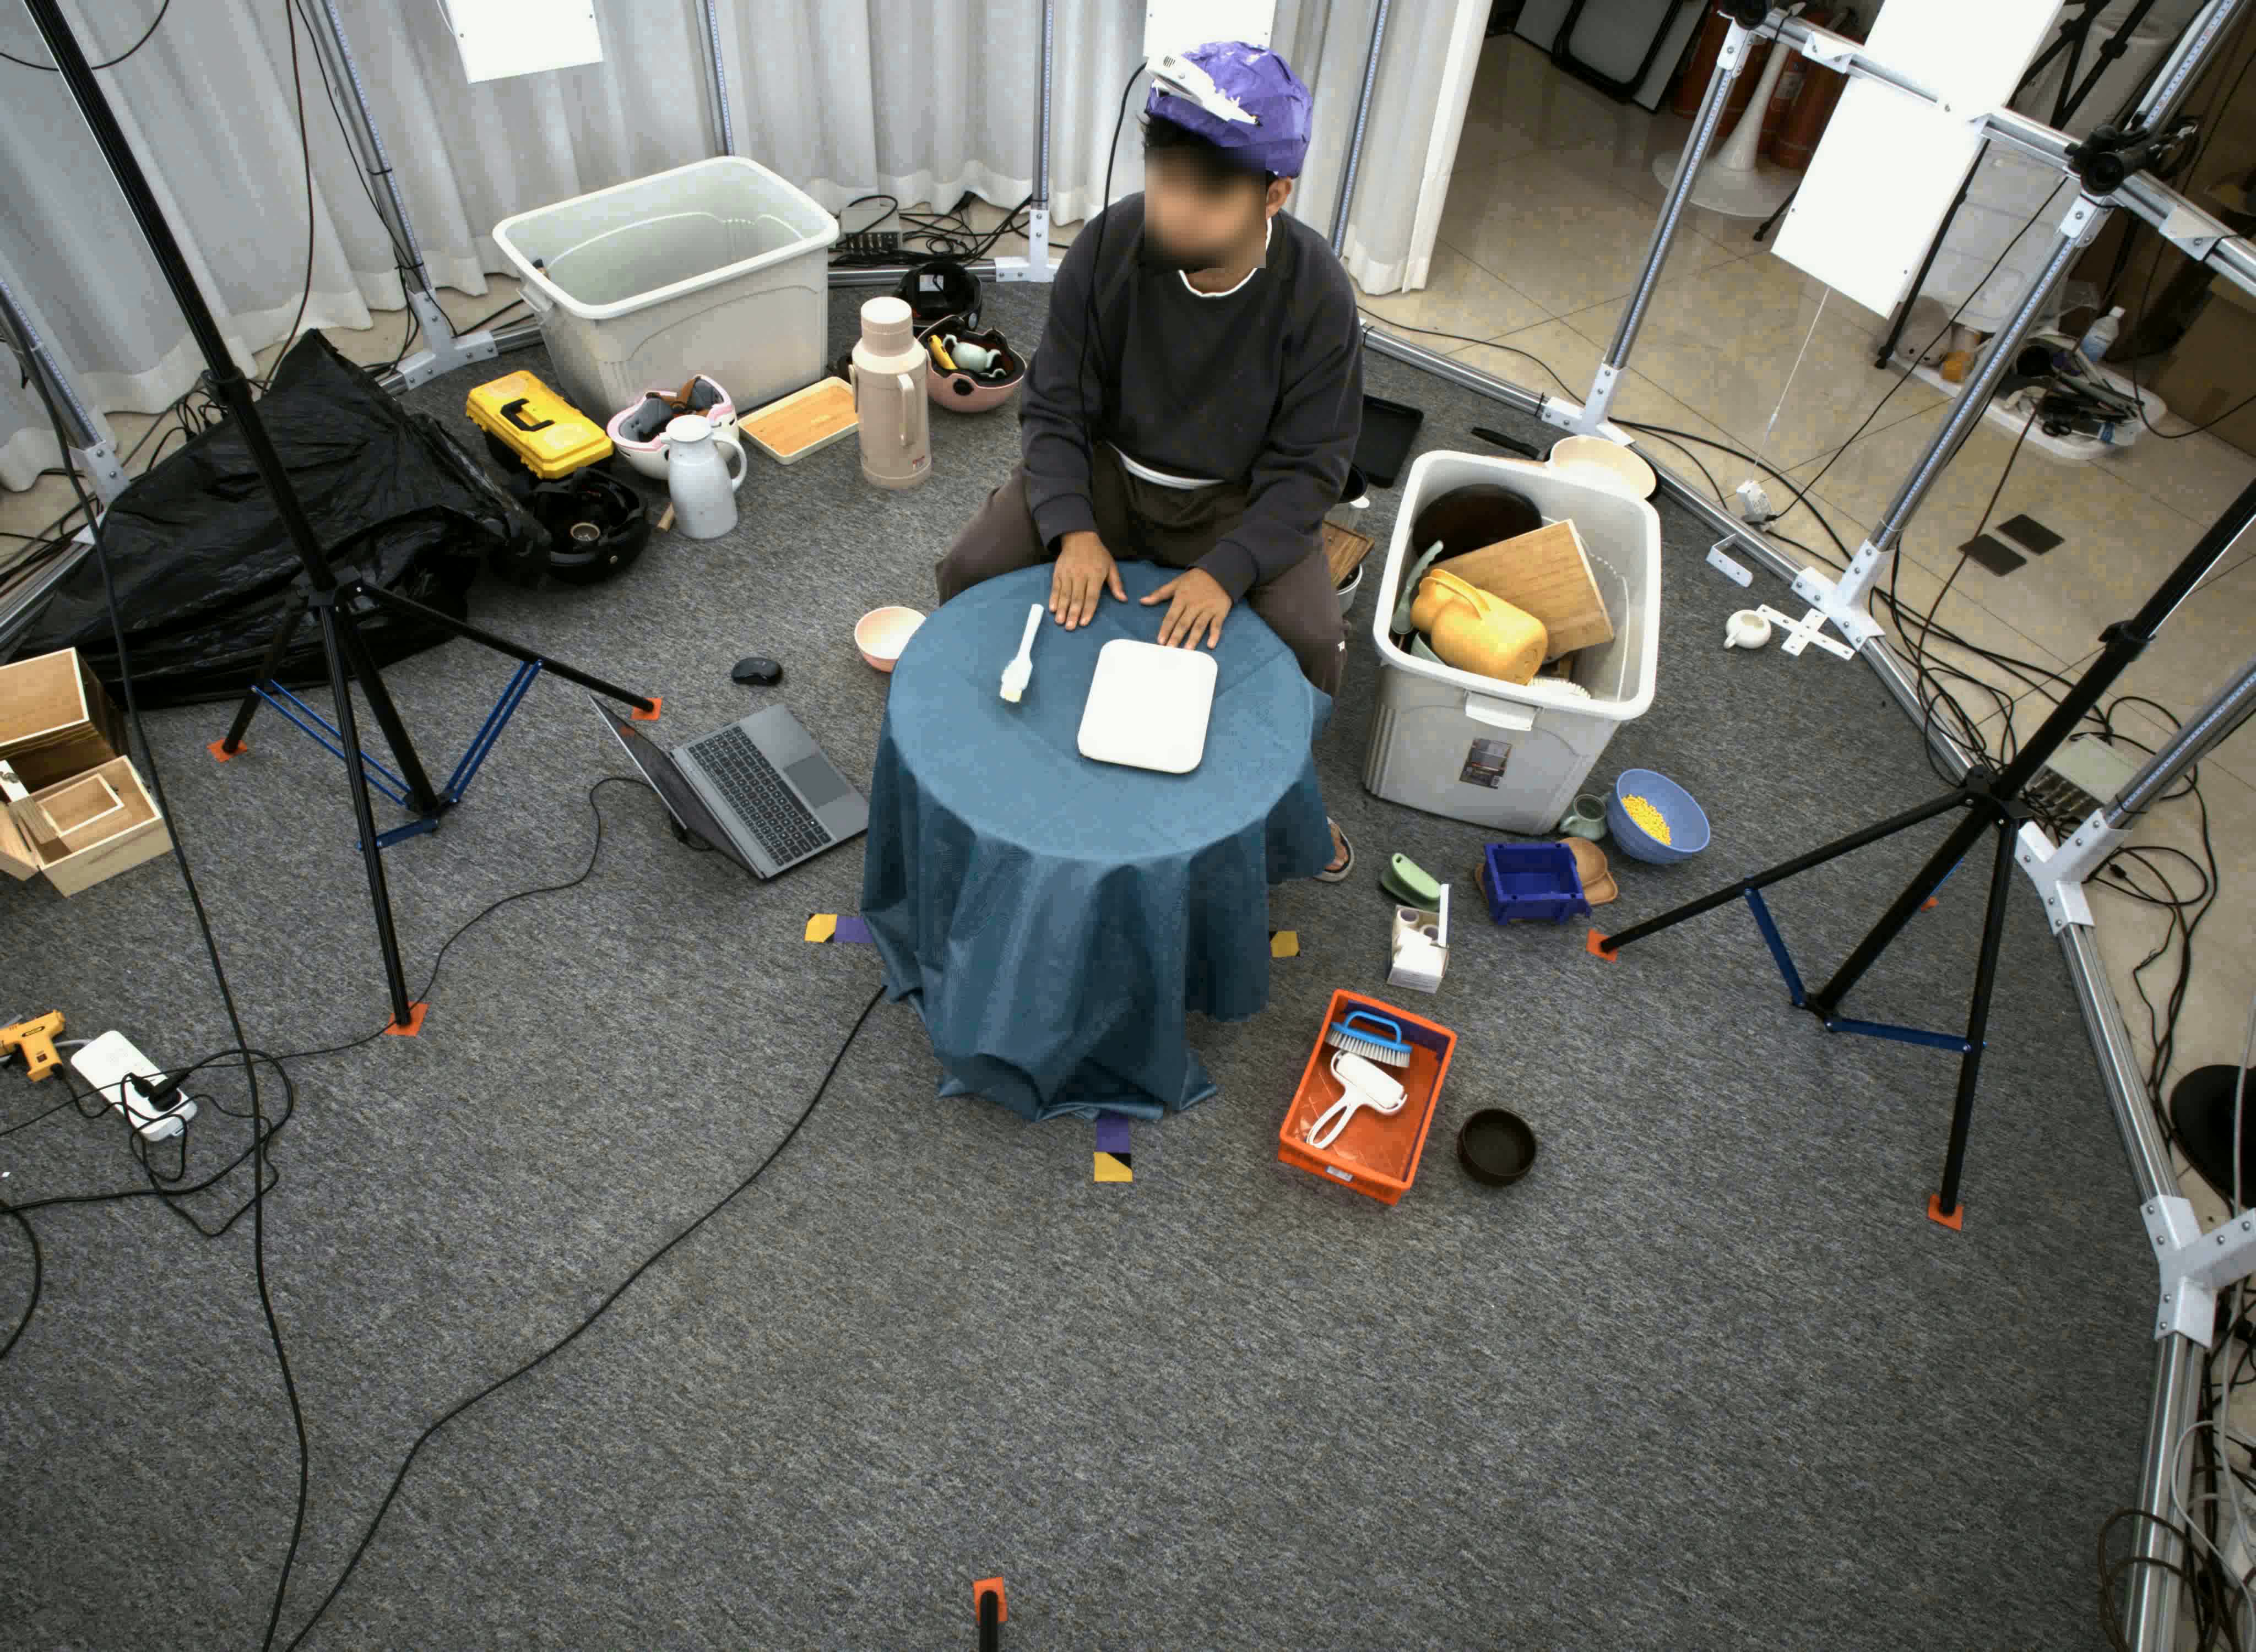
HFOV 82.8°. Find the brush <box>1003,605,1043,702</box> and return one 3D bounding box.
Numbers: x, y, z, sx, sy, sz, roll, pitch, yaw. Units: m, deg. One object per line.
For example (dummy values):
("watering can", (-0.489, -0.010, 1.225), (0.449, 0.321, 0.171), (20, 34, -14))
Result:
("brush", (-0.149, -0.254, 1.854), (0.037, 0.048, 0.234), (16, 41, -8))

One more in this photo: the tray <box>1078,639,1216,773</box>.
("tray", (0.030, -0.170, 1.803), (0.171, 0.017, 0.245), (10, 49, 3))
